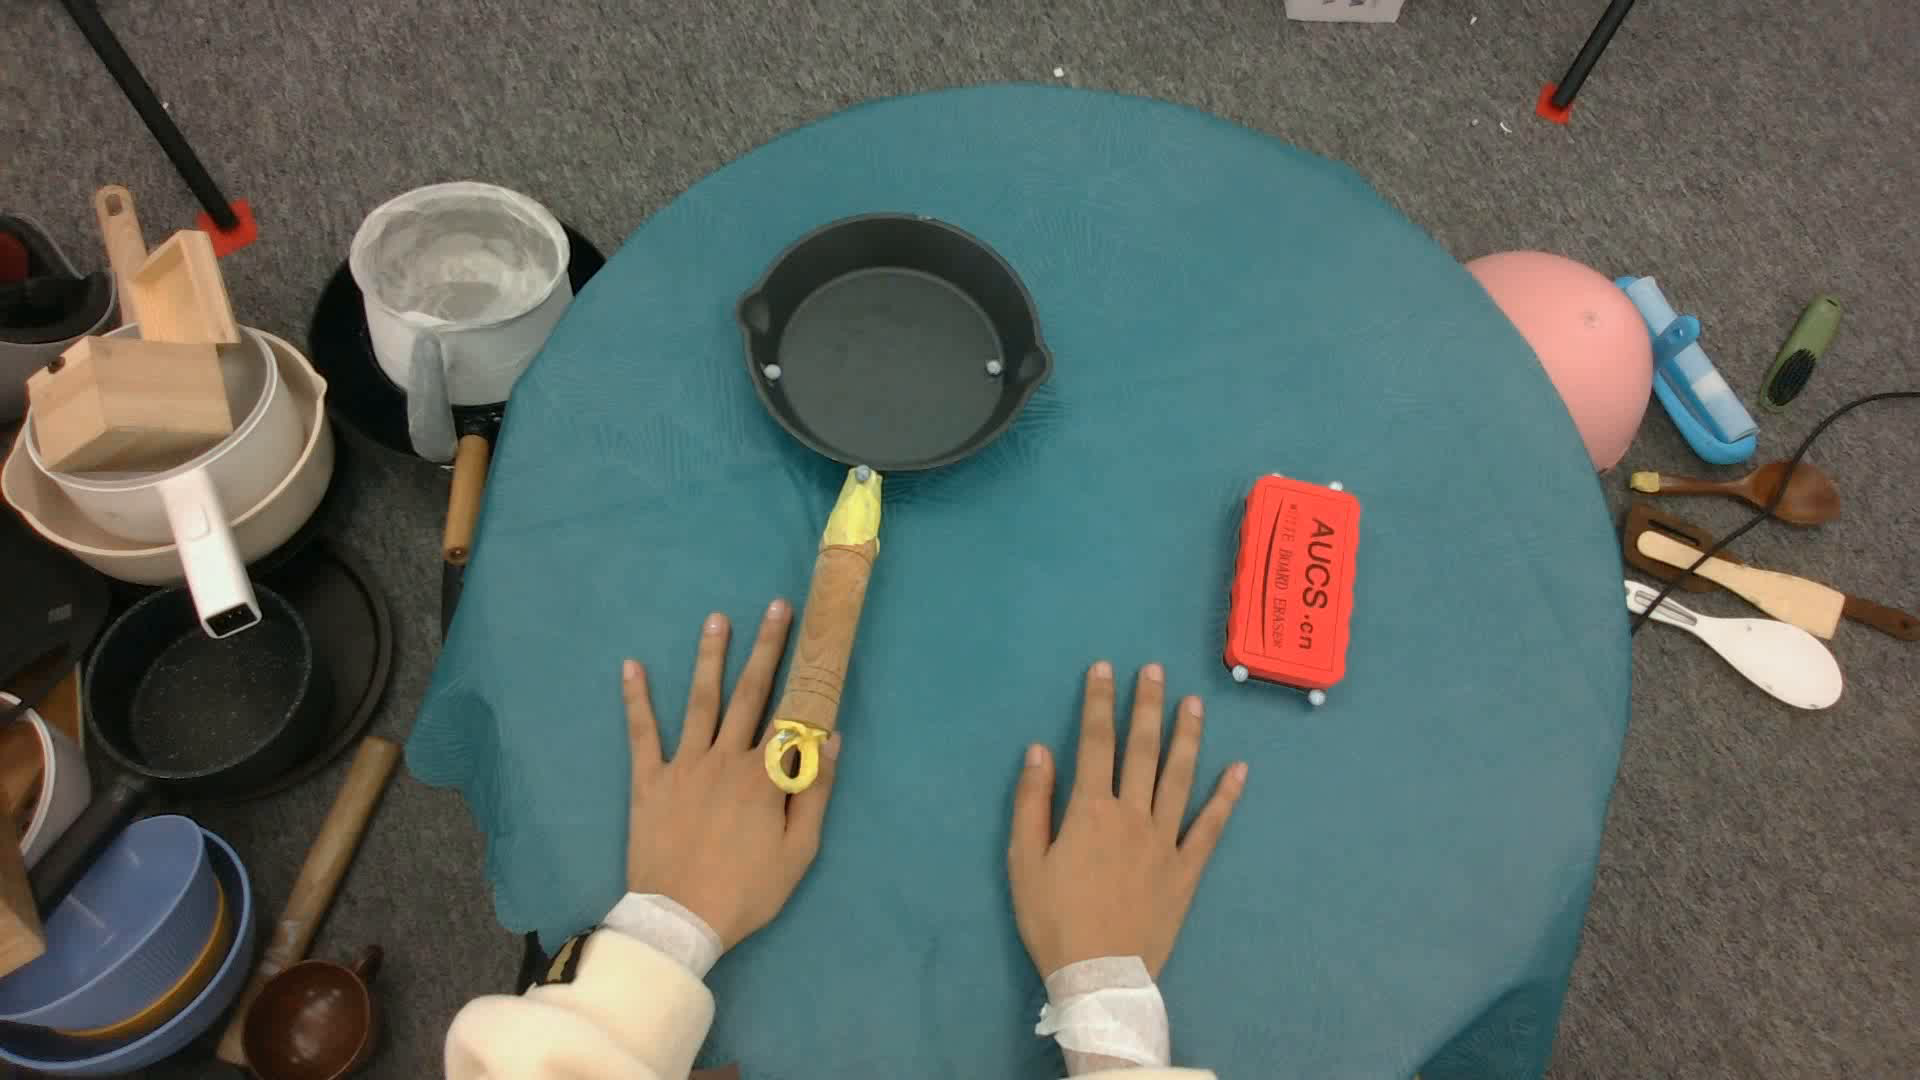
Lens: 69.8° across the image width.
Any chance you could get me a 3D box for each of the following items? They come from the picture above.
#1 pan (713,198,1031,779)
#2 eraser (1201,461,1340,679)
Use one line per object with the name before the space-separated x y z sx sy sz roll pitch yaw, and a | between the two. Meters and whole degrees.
pan | -0.061 -0.035 0.693 0.169 0.049 0.325 12 65 -2
eraser | 0.161 0.015 0.711 0.059 0.023 0.108 14 66 0
